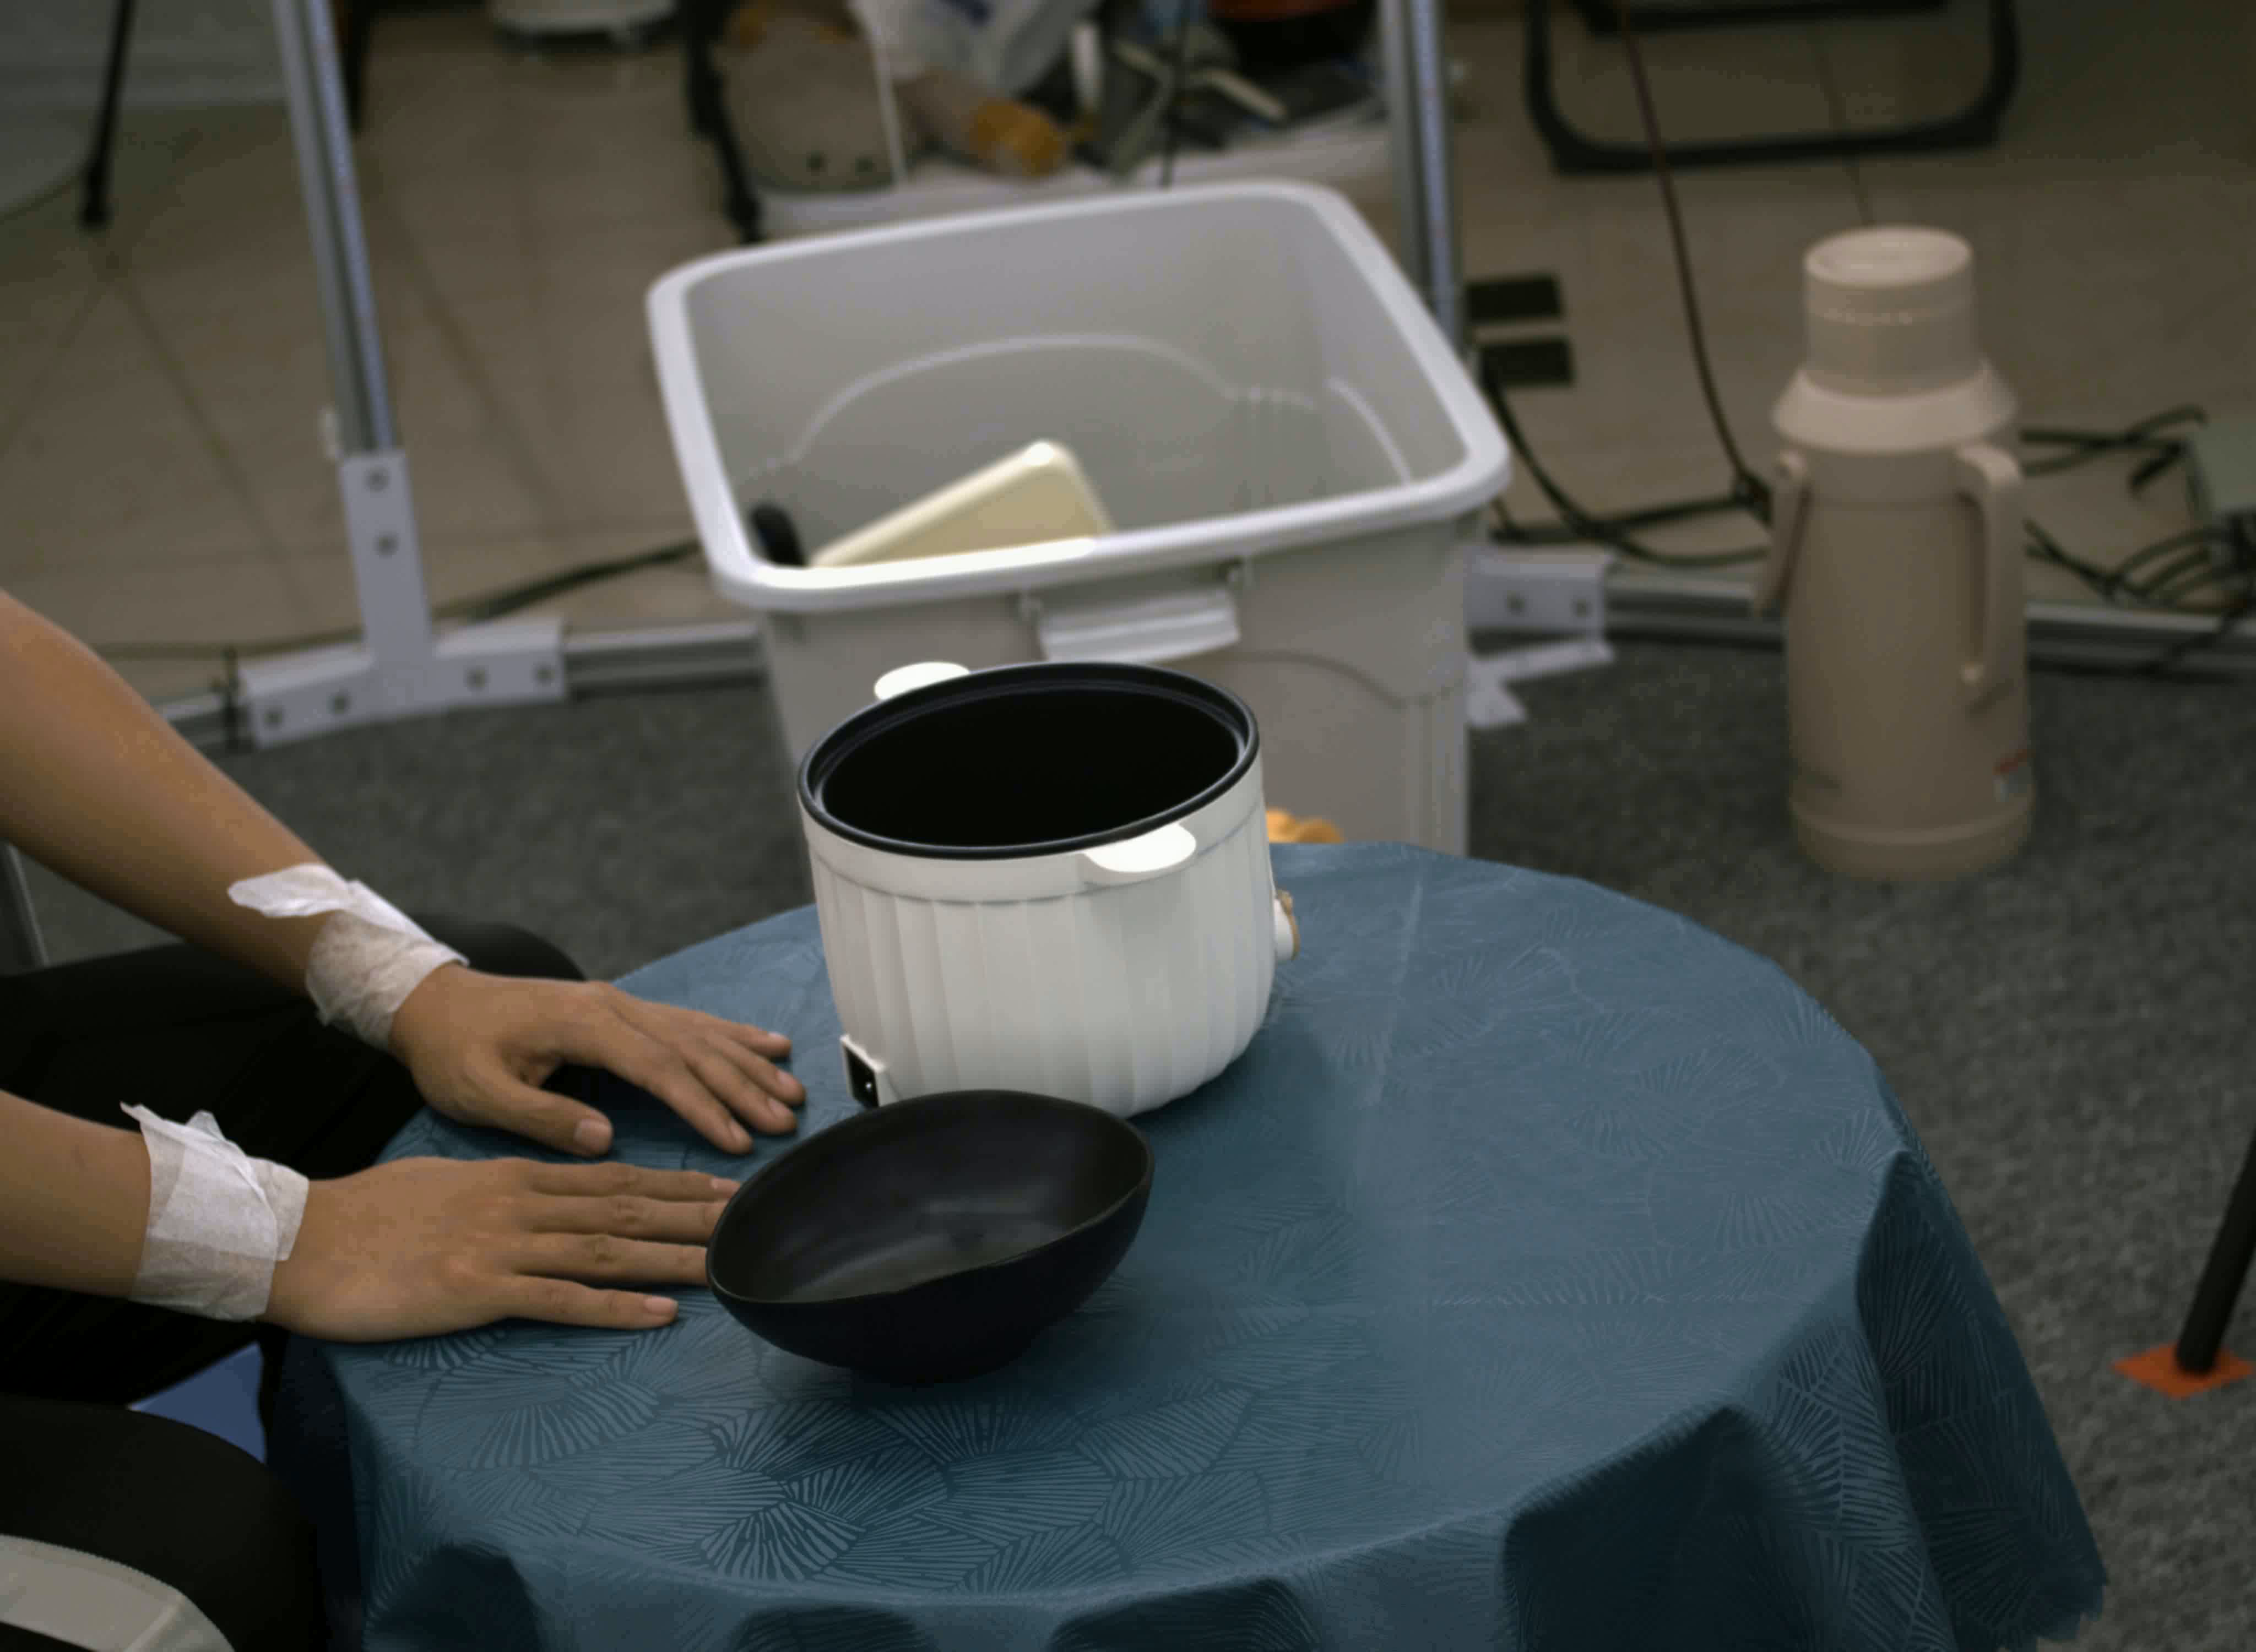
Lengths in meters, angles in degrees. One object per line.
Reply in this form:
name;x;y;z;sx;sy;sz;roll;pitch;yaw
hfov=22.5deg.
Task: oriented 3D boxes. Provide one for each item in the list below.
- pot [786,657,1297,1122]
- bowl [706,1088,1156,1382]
pot;-0.028;0.029;2.228;0.189;0.145;0.237;-21;29;-20
bowl;-0.067;0.157;2.052;0.169;0.068;0.136;-18;26;-22
